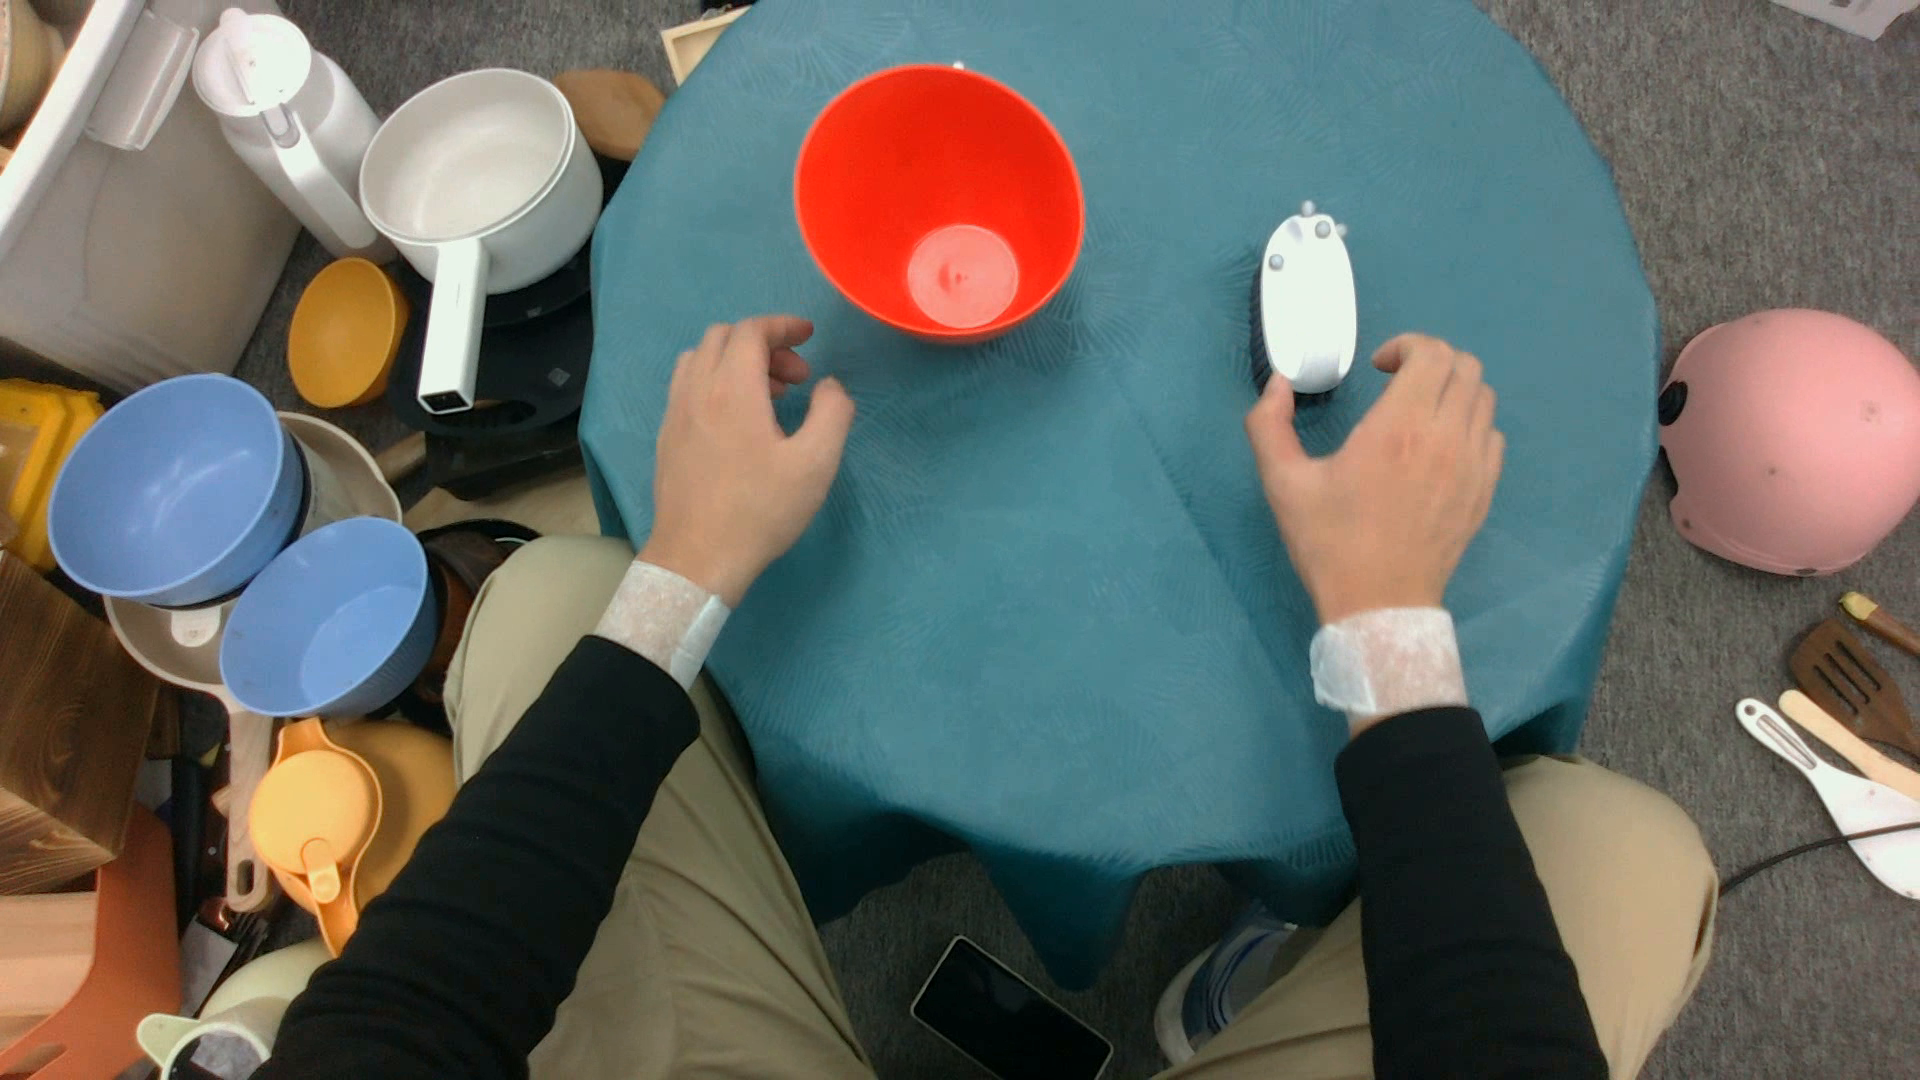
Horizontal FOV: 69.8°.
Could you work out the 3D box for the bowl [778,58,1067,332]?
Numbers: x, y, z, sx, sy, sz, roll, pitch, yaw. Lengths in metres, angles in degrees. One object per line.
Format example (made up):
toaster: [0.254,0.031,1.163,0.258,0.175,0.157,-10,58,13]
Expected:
bowl: [-0.019,-0.170,0.741,0.148,0.104,0.148,0,76,-1]

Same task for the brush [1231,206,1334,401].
brush: [0.179,-0.134,0.747,0.050,0.072,0.099,3,75,-1]
